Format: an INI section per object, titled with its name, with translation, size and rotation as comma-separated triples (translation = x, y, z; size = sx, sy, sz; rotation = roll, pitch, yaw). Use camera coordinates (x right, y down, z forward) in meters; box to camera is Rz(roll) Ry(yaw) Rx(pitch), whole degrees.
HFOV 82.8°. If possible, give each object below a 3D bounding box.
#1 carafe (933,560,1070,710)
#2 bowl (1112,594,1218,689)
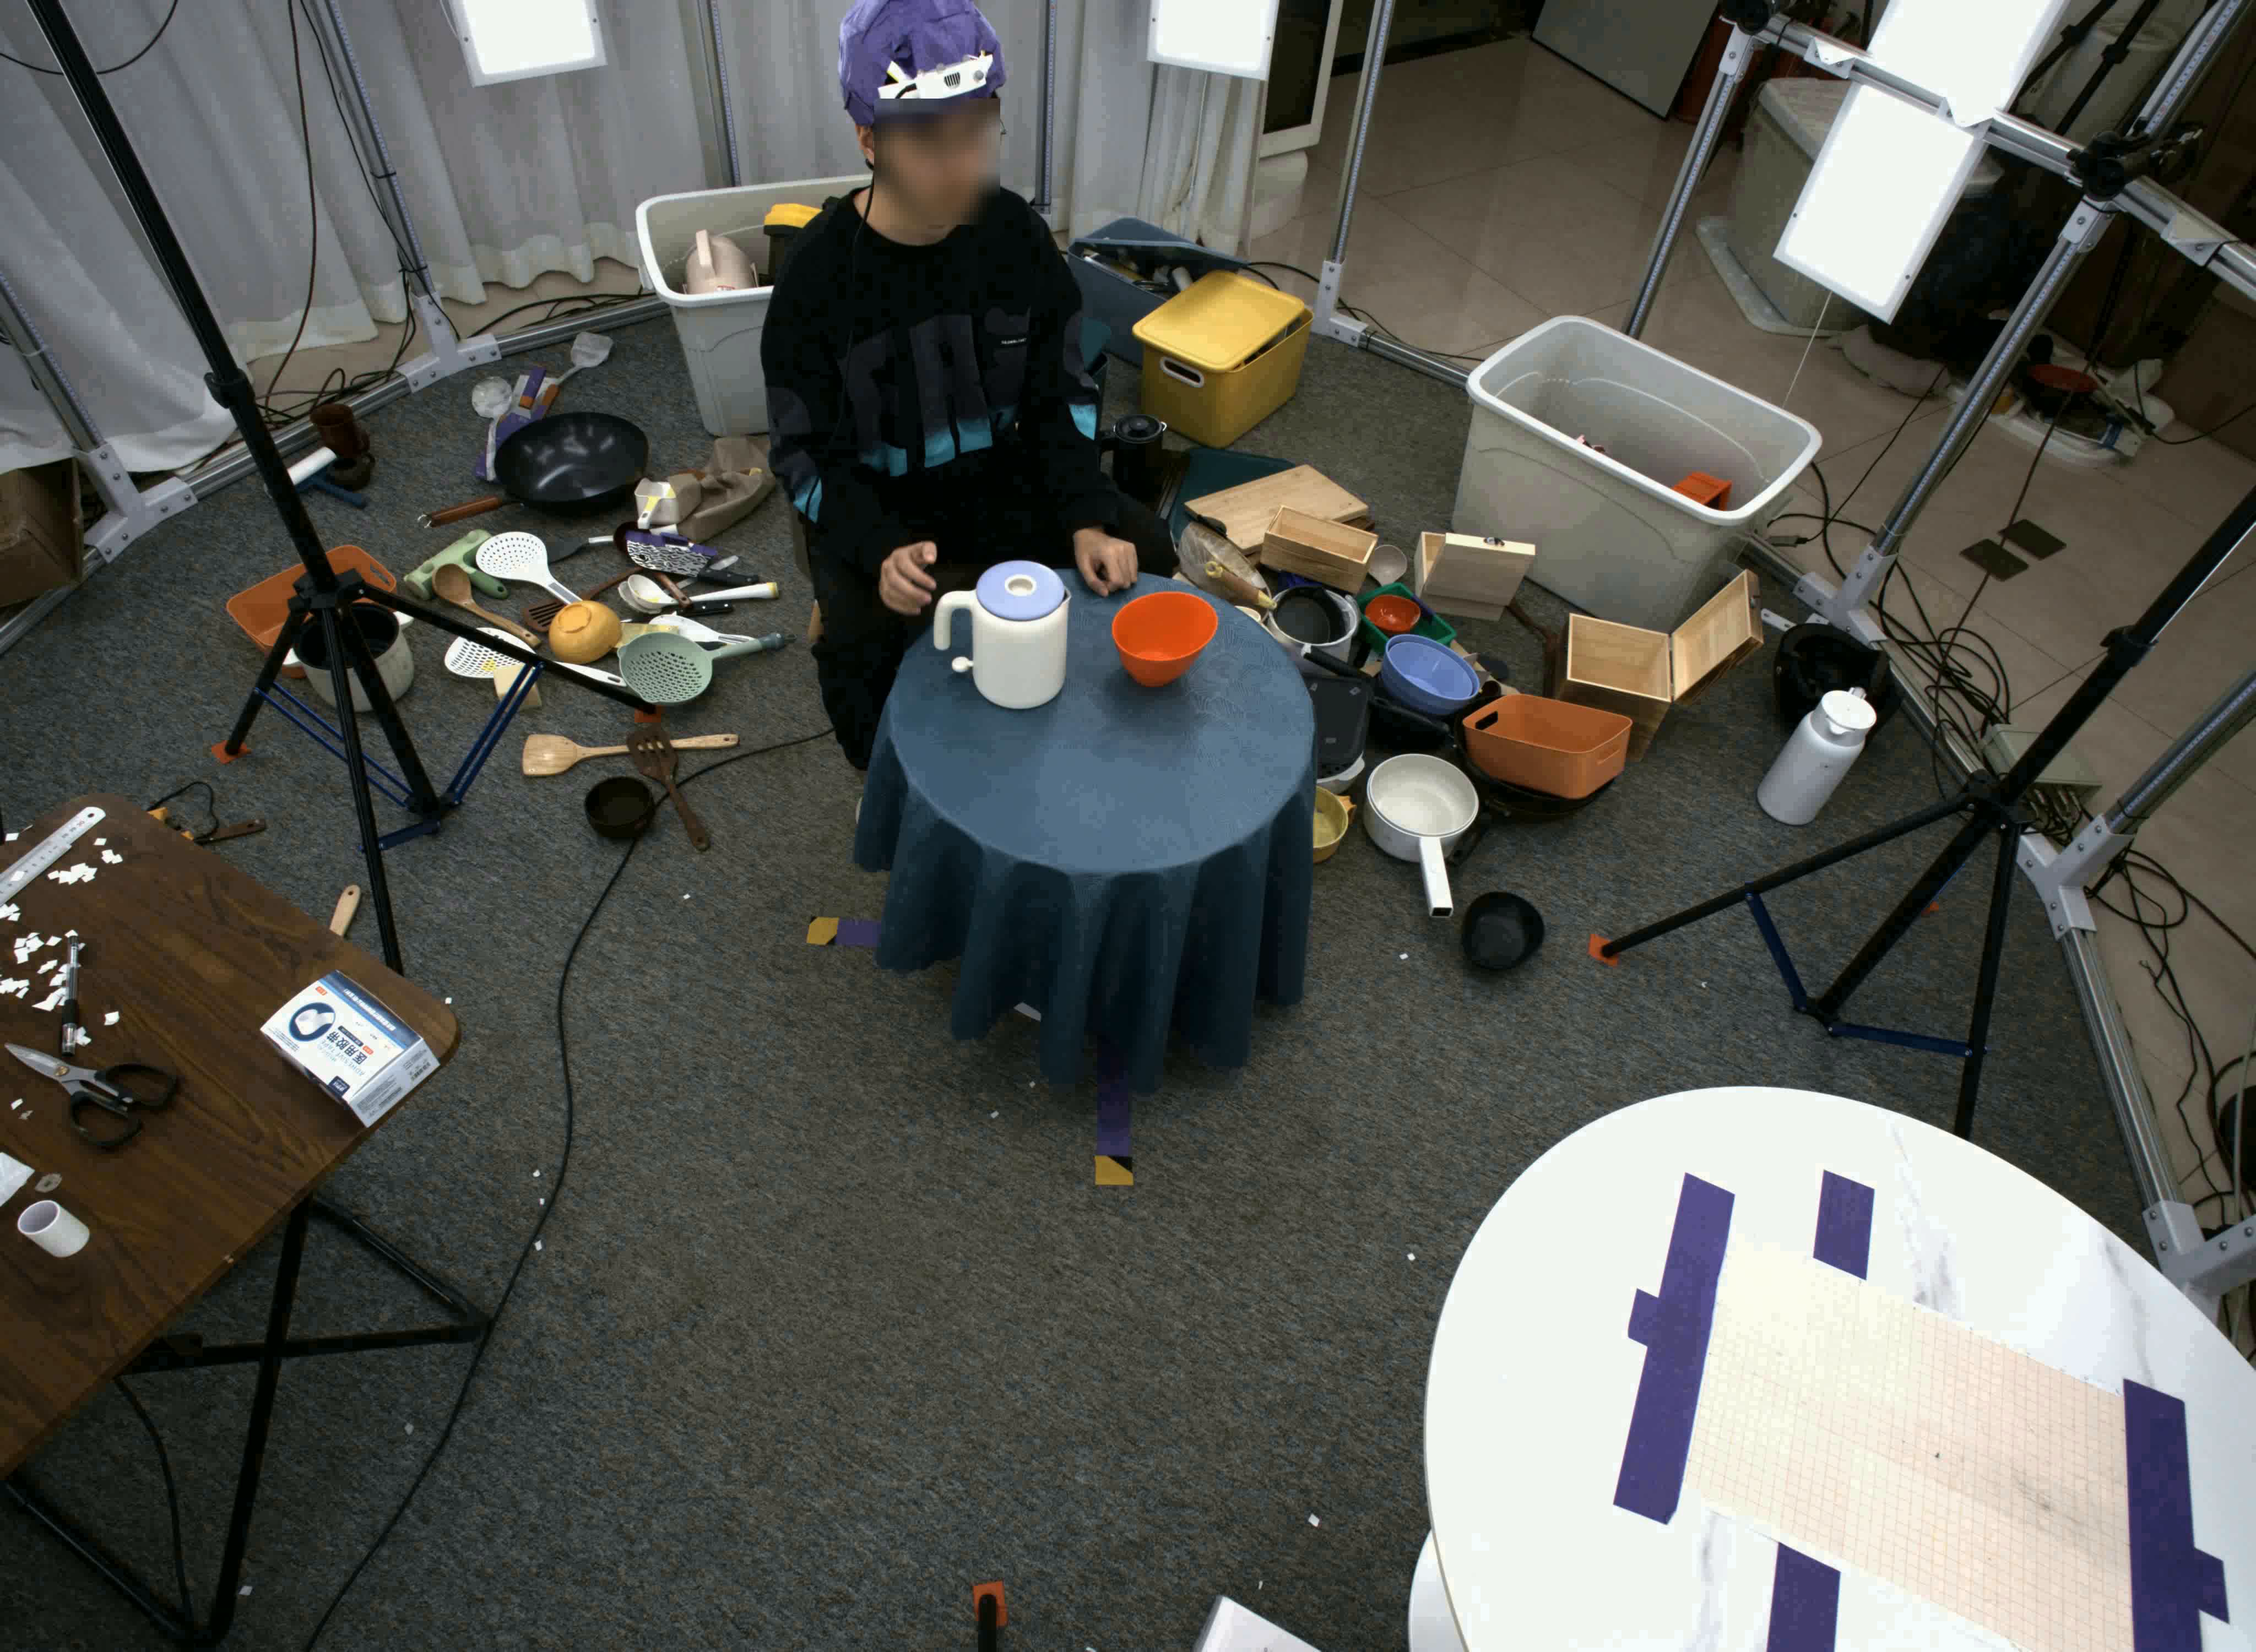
[carafe]
translation = -0.173, -0.263, 1.776
size = 0.191, 0.178, 0.135
rotation = 1, 48, 0
[bowl]
translation = 0.048, -0.253, 1.826
size = 0.148, 0.102, 0.152
rotation = 2, 49, -3
